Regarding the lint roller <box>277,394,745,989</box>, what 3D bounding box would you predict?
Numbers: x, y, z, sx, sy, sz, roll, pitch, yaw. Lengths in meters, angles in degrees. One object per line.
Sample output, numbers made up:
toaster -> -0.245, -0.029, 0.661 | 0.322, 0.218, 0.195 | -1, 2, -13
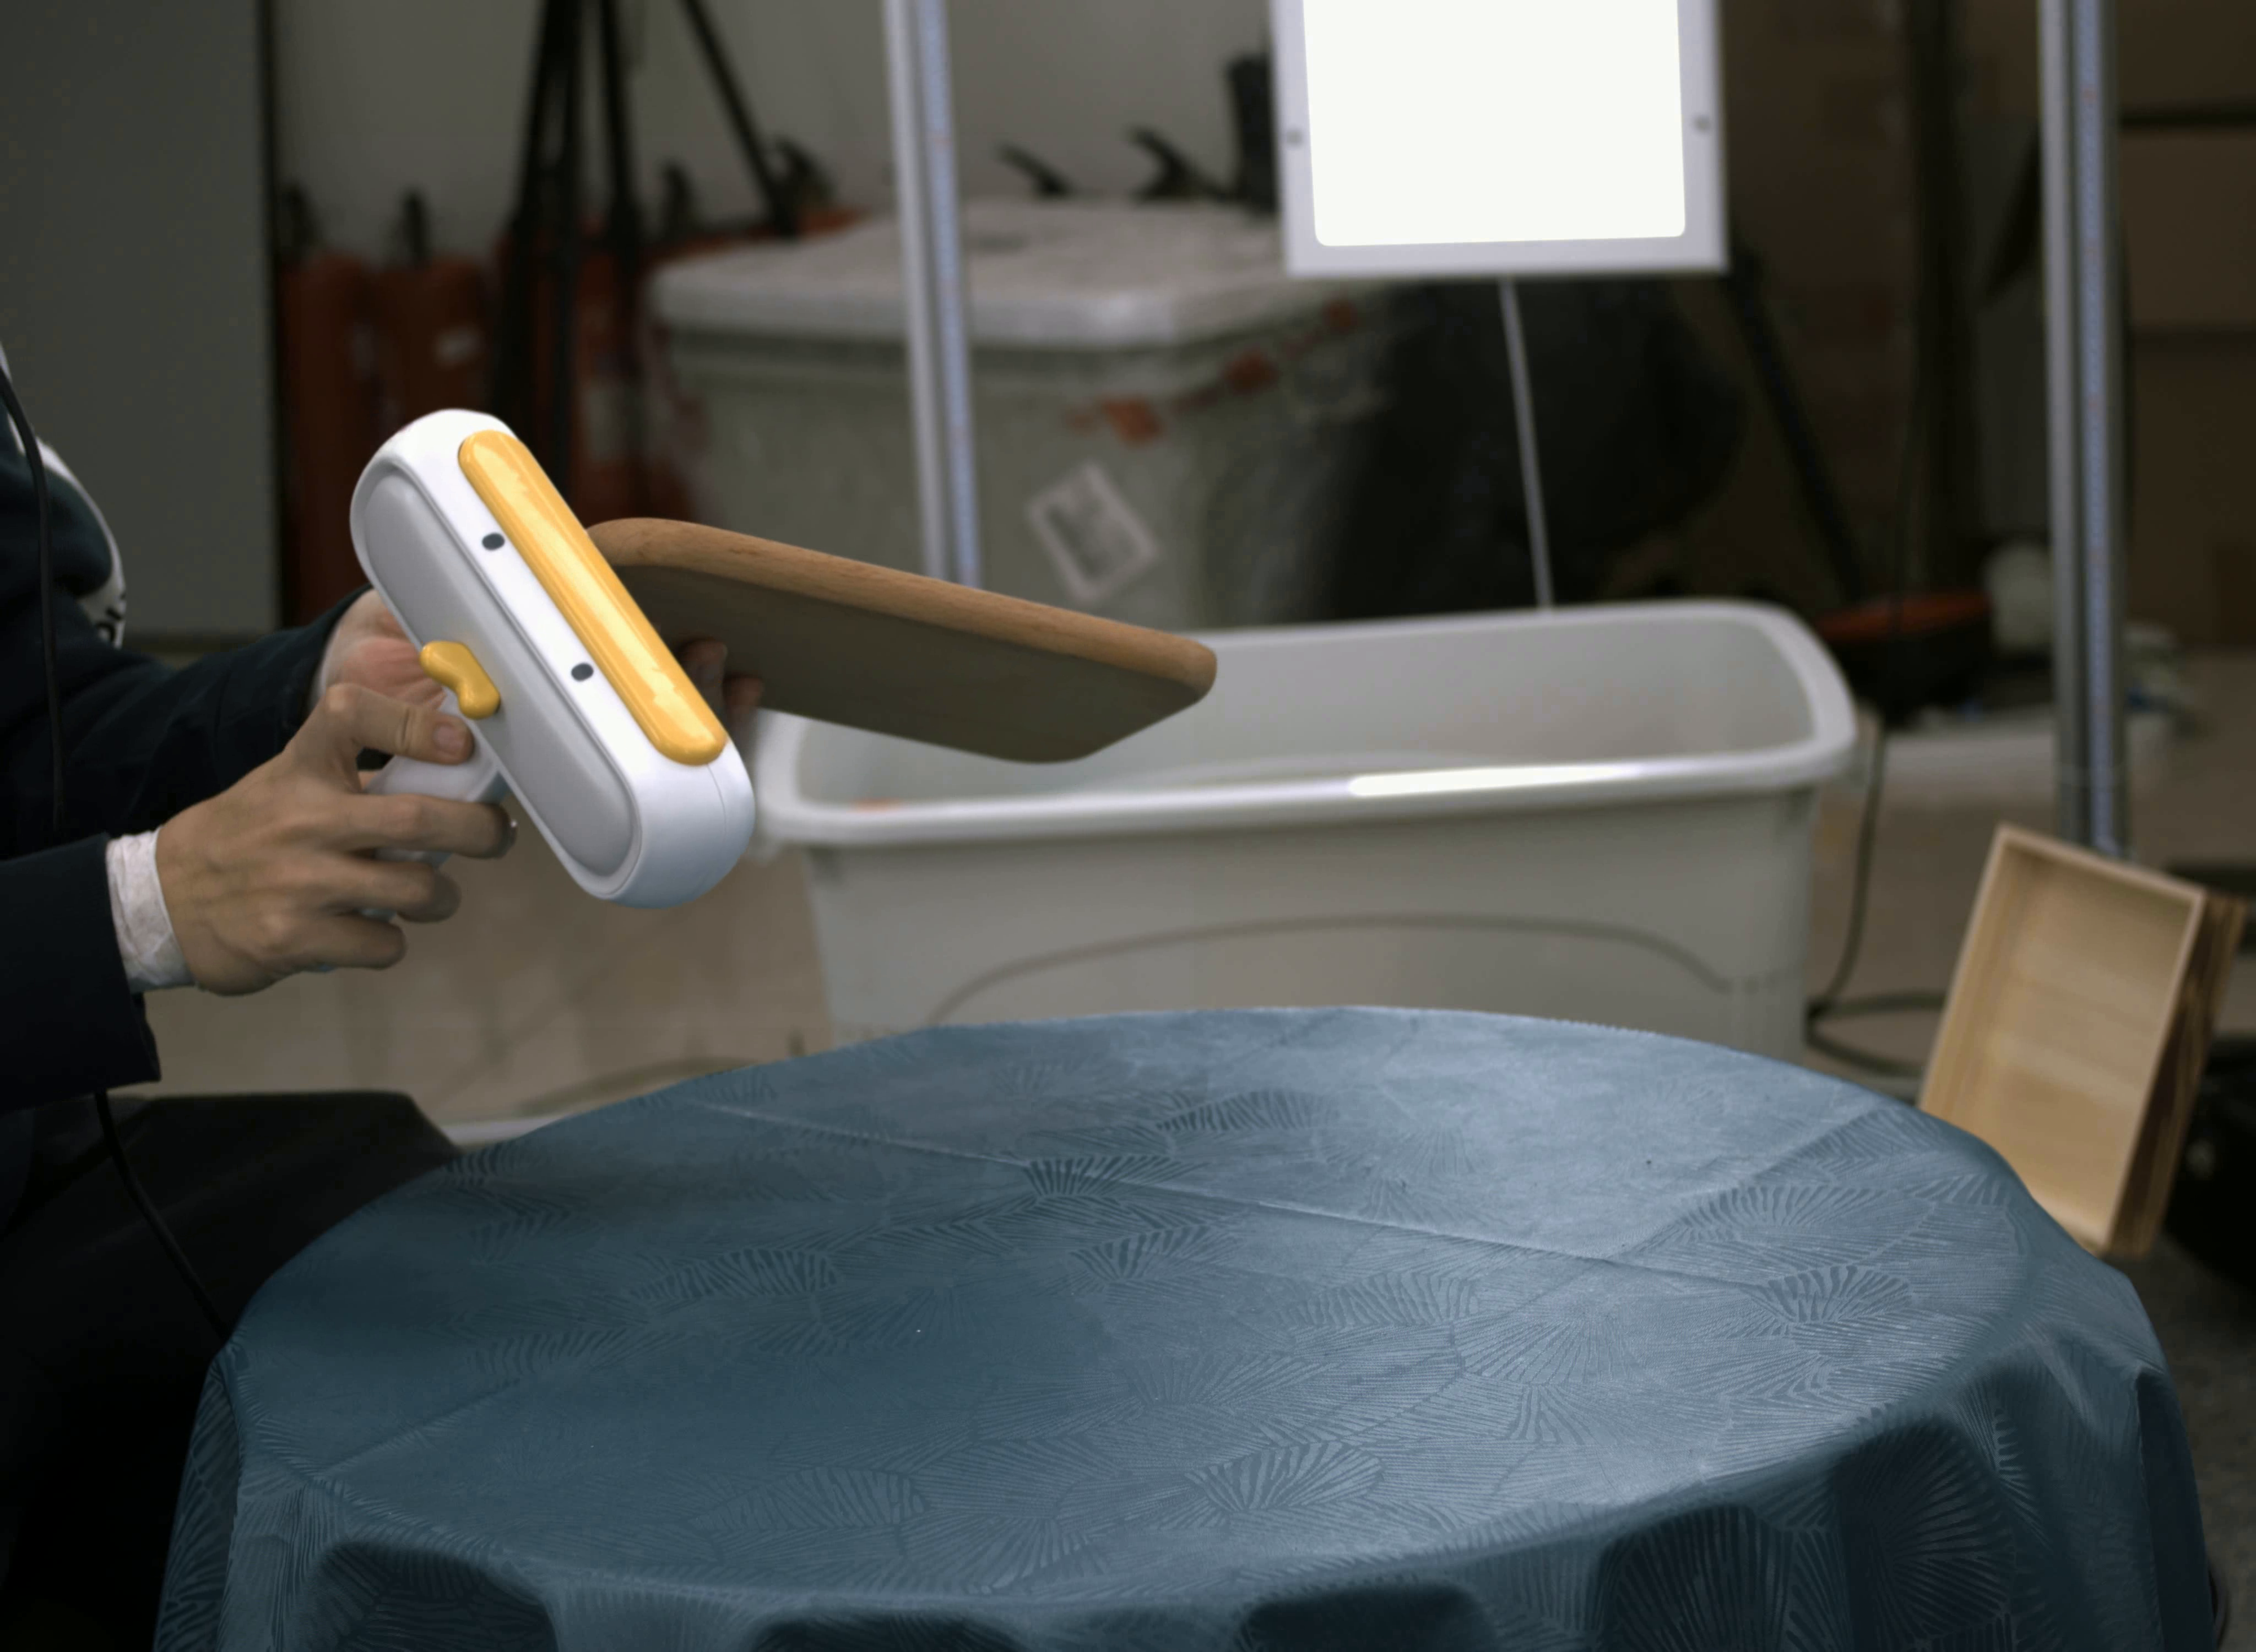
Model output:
lint roller -> -0.229, -0.021, 1.877 | 0.194, 0.196, 0.072 | 48, 39, 19

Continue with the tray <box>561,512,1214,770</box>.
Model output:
tray -> -0.098, -0.062, 1.943 | 0.245, 0.023, 0.133 | 12, -23, -27
